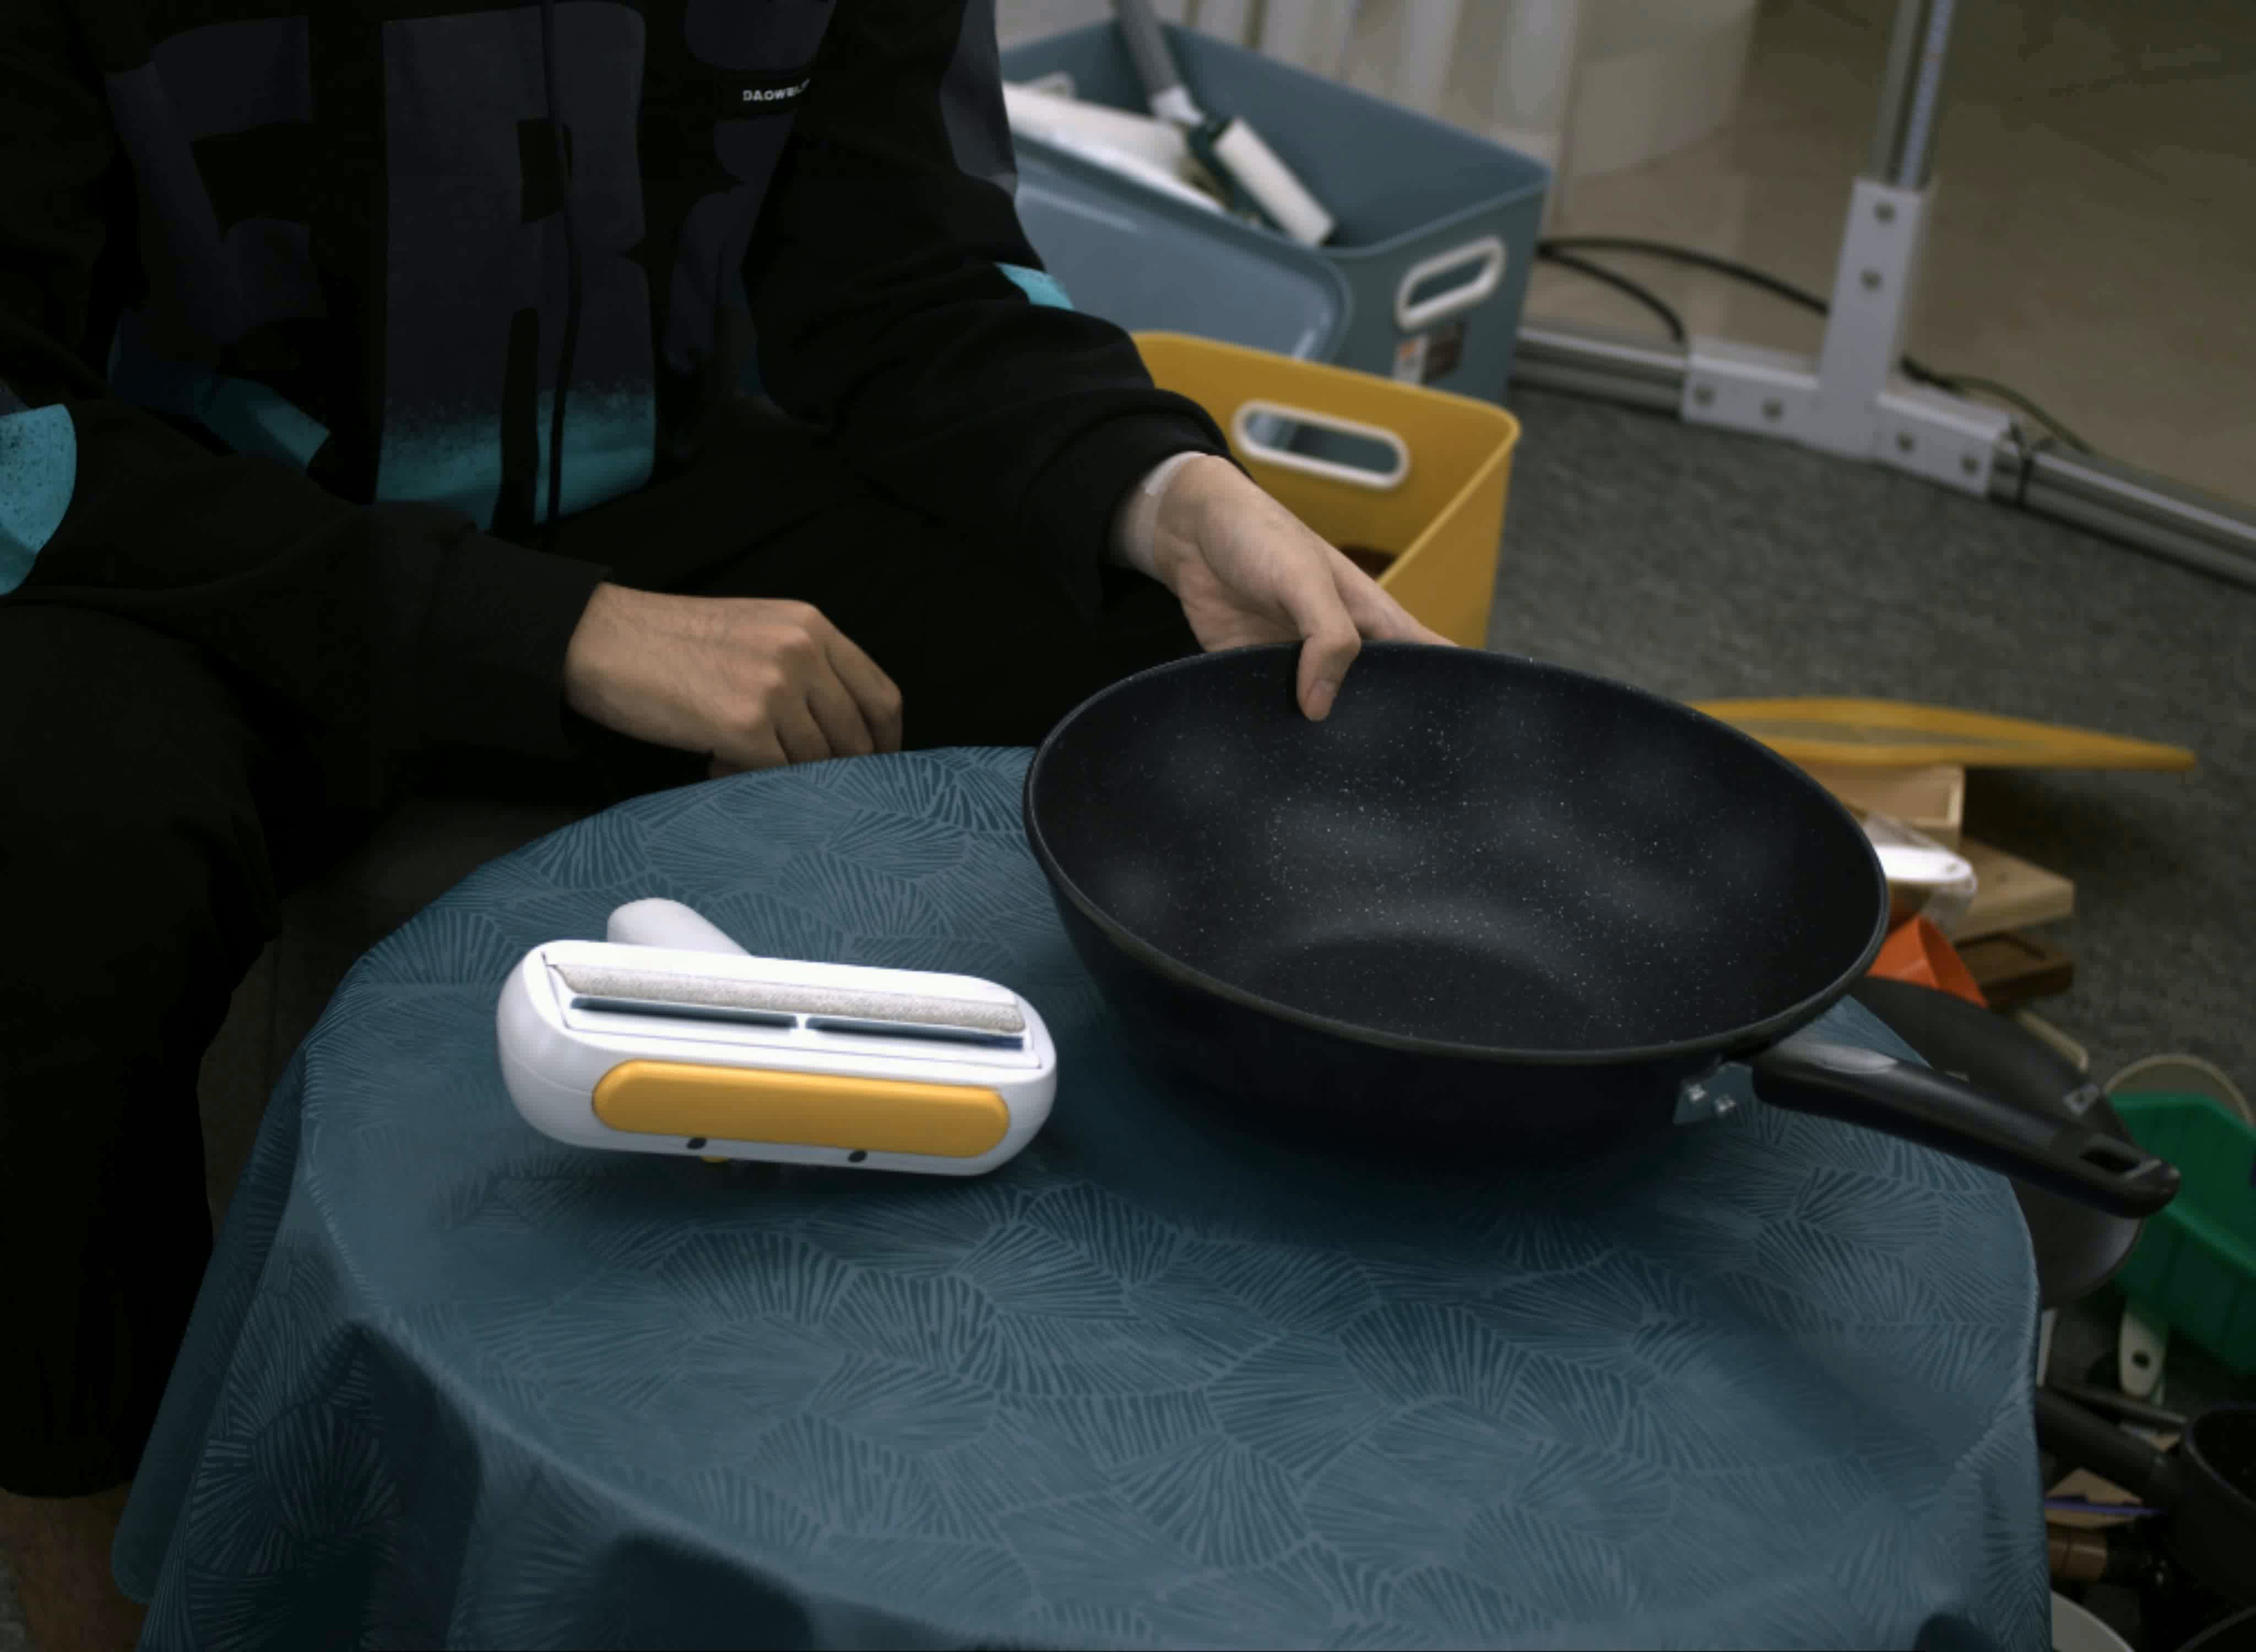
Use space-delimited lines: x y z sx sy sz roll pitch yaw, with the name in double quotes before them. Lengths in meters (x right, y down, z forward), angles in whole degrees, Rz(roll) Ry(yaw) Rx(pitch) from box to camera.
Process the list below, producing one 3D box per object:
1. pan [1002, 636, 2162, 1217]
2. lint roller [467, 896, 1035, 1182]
"pan" 0.161 0.062 1.837 0.308 0.111 0.481 -18 35 -37
"lint roller" -0.141 0.058 1.822 0.191 0.074 0.194 3 25 -18
